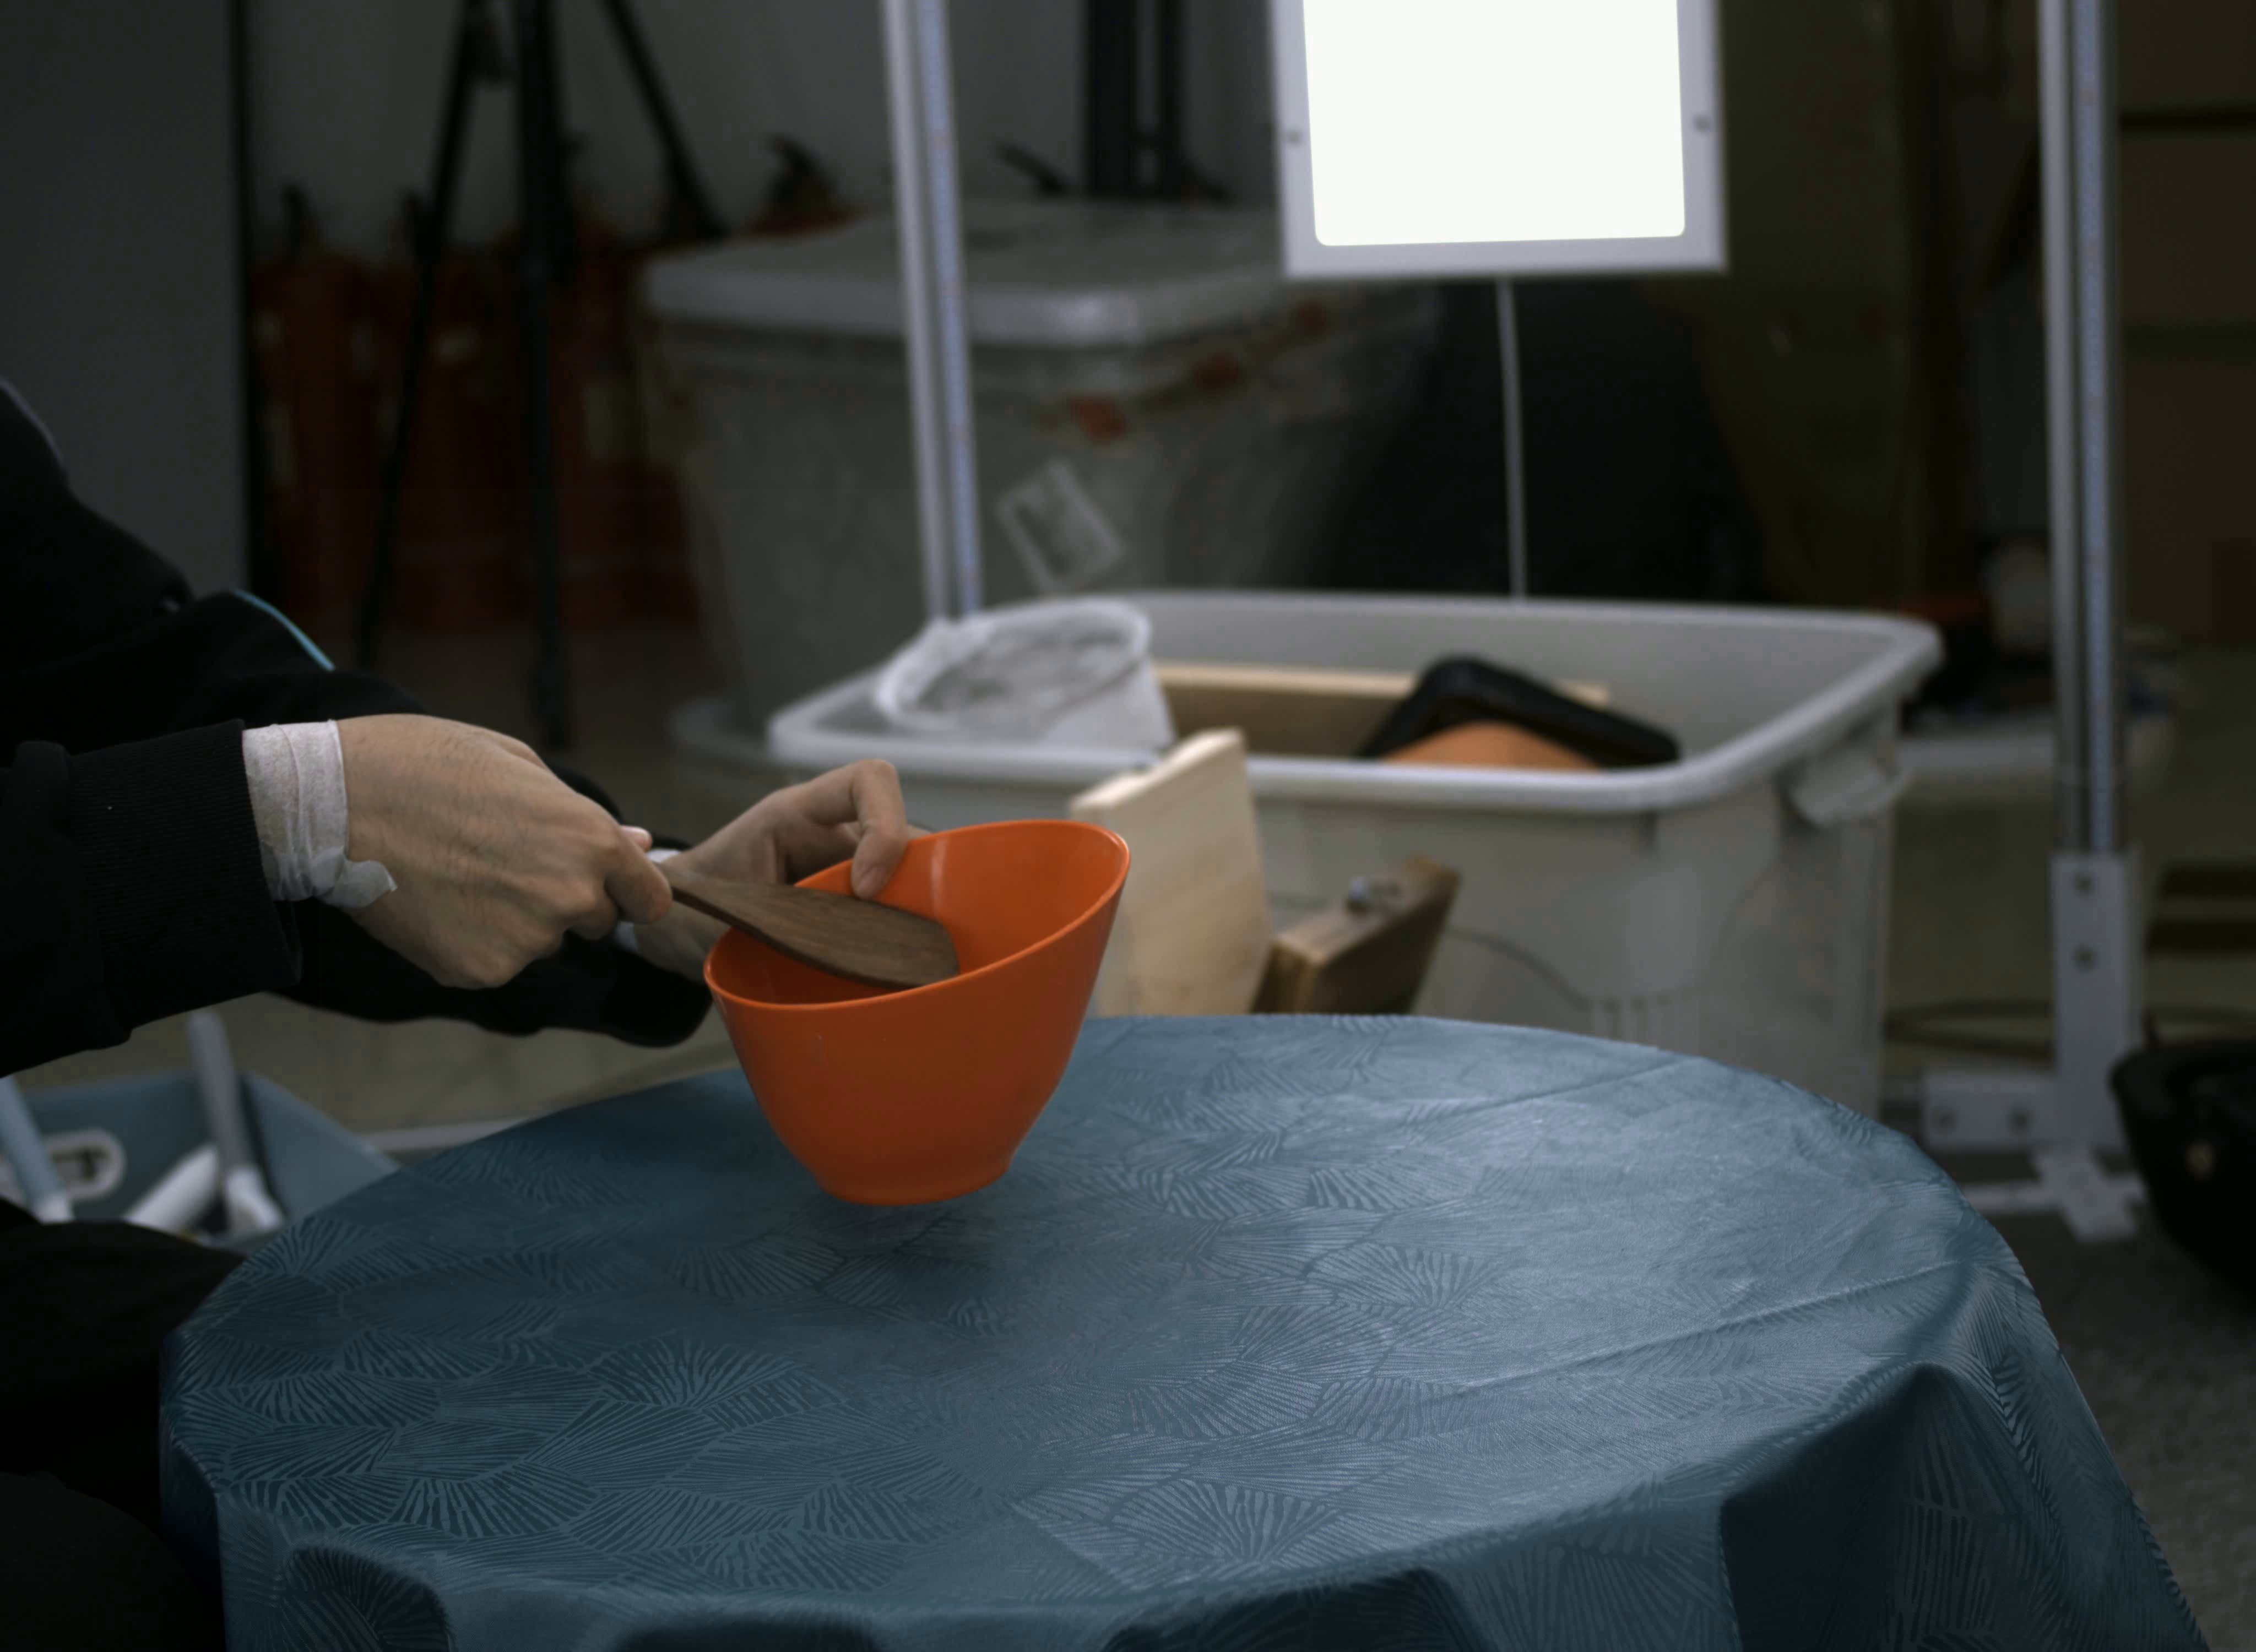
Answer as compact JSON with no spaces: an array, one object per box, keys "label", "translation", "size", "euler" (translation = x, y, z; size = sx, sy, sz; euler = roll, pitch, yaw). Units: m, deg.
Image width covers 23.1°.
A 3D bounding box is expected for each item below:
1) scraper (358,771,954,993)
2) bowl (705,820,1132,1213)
[{"label":"scraper","translation":[-0.159,0.018,1.863],"size":[0.209,0.011,0.076],"euler":[18,18,-10]},{"label":"bowl","translation":[-0.066,0.068,1.858],"size":[0.148,0.105,0.148],"euler":[-7,19,1]}]
